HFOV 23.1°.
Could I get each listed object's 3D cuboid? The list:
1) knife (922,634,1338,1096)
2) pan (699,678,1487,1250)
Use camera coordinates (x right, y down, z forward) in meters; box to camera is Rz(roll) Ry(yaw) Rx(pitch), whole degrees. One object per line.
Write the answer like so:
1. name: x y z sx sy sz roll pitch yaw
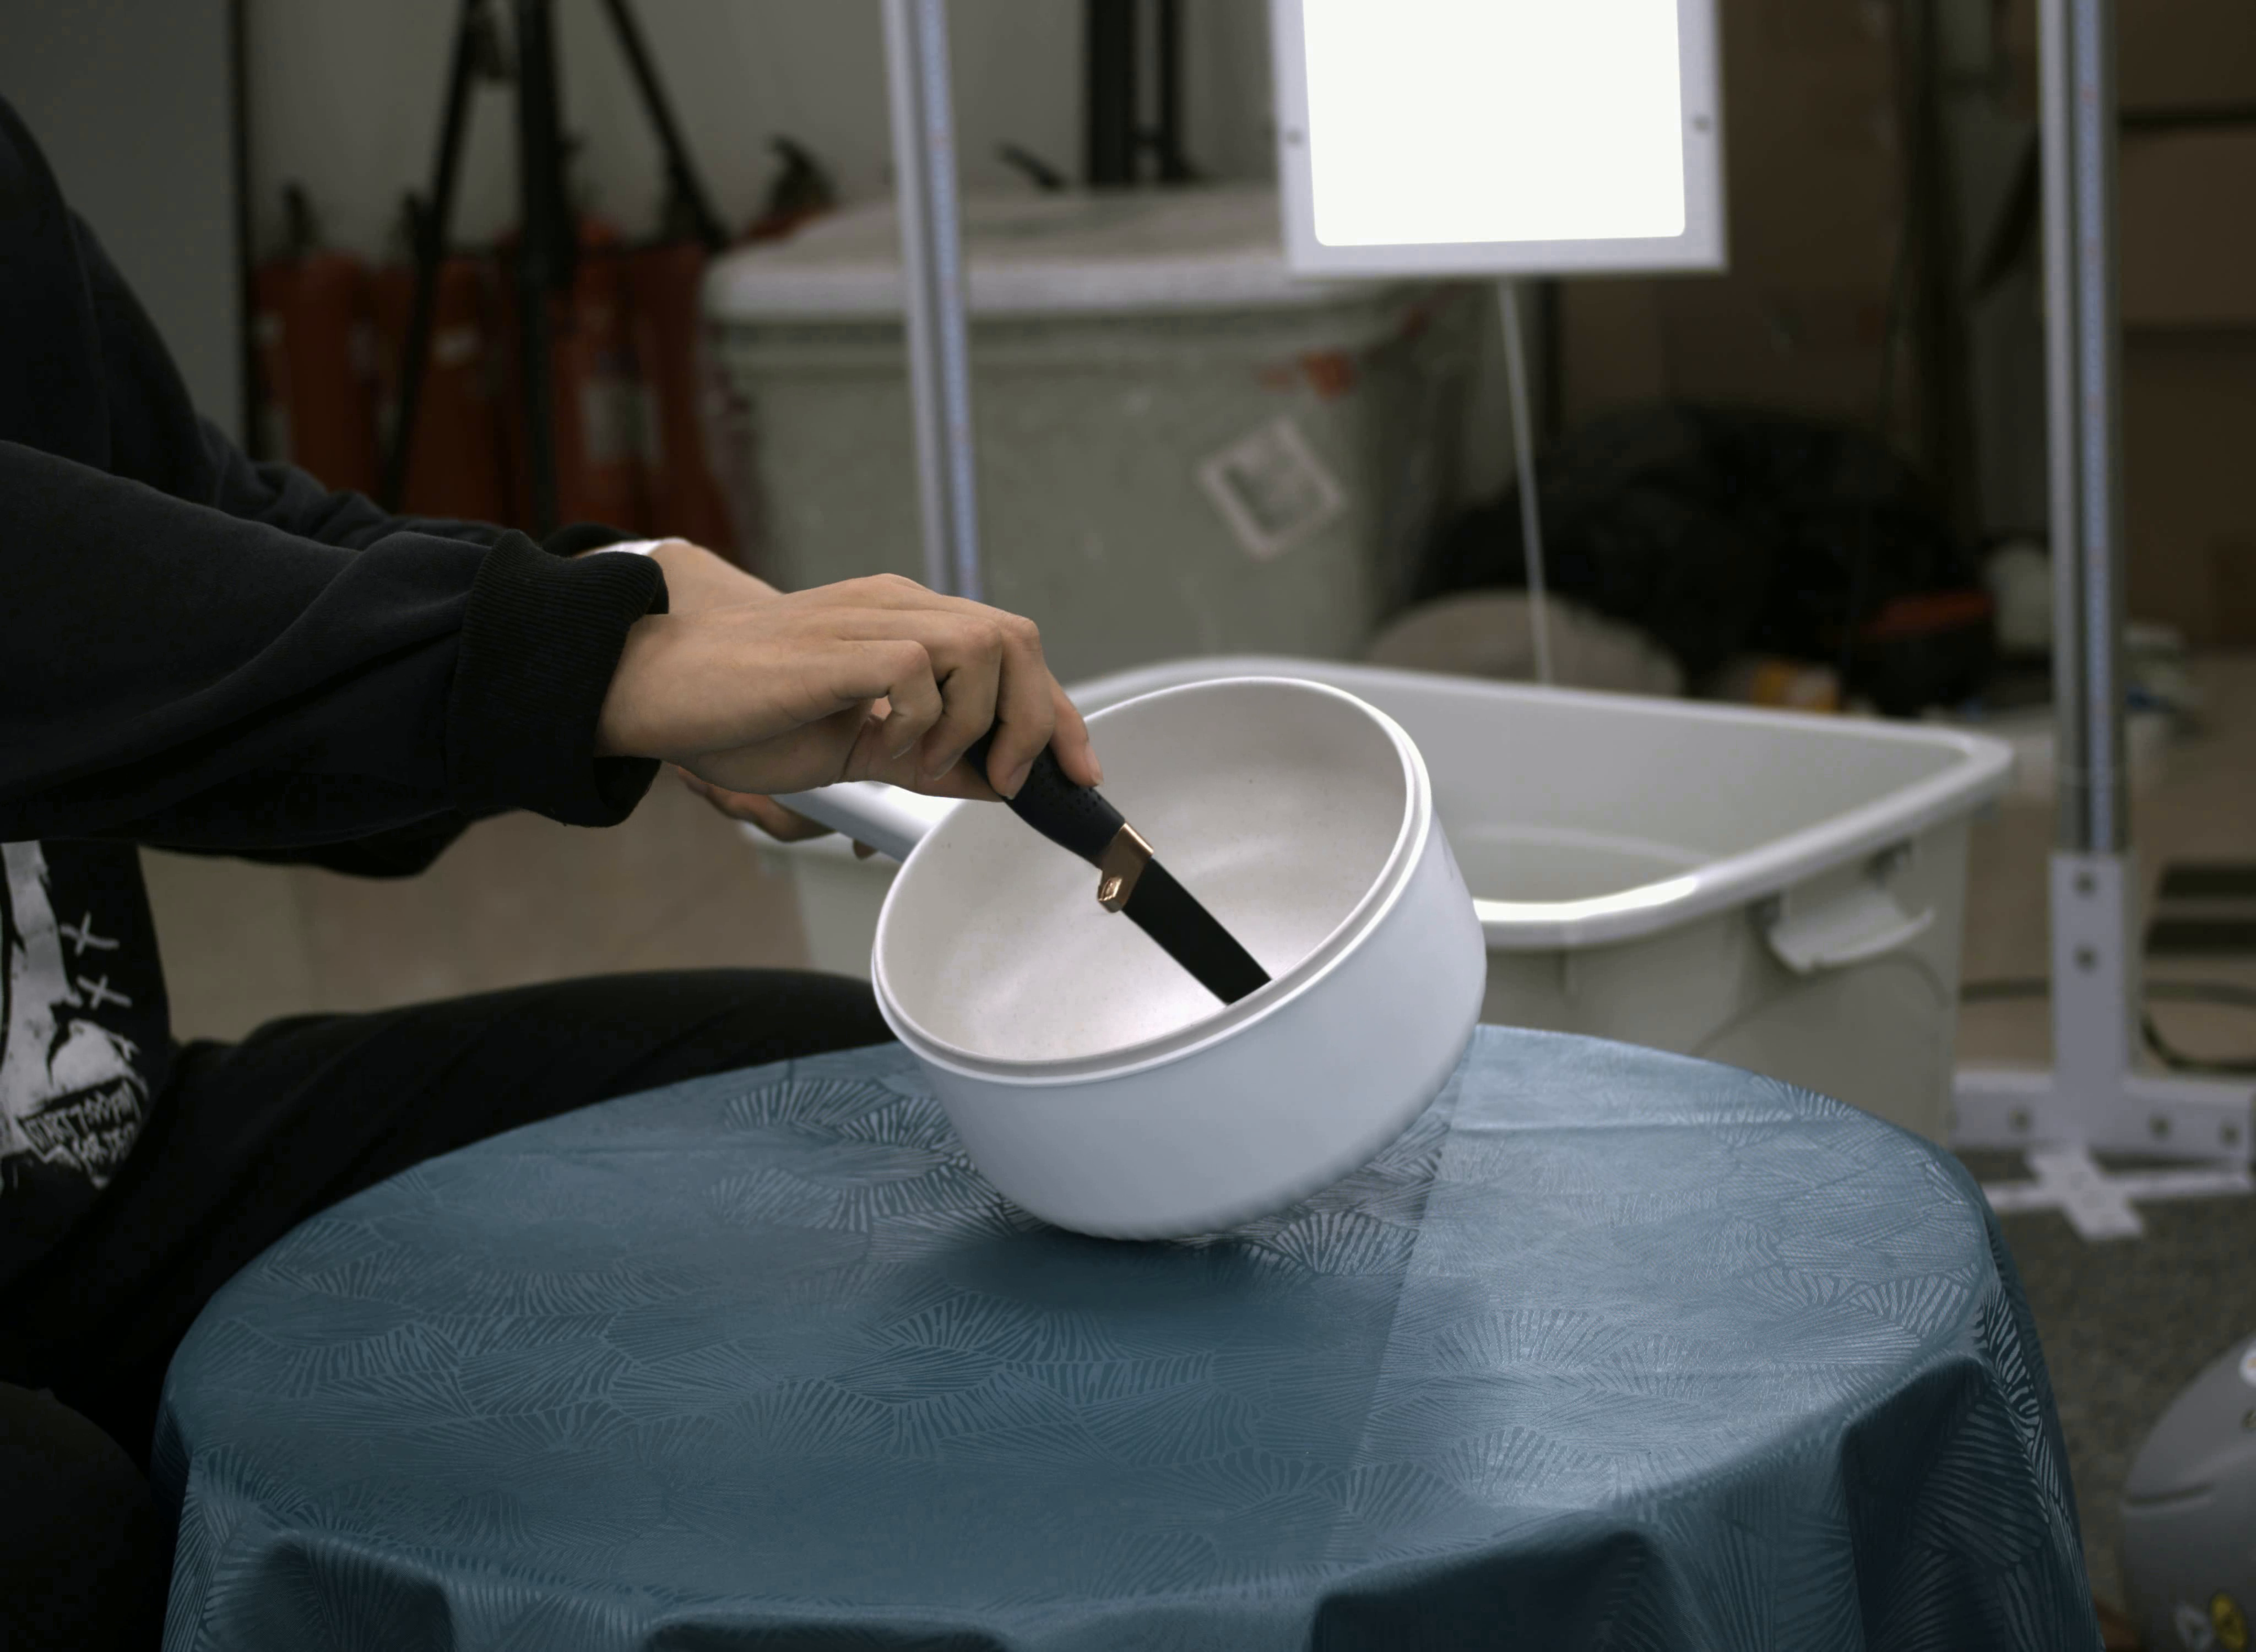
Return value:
1. knife: 0.004 0.014 1.743 0.017 0.223 0.026 -20 39 32
2. pan: -0.024 0.033 1.936 0.198 0.101 0.361 -43 36 -20
